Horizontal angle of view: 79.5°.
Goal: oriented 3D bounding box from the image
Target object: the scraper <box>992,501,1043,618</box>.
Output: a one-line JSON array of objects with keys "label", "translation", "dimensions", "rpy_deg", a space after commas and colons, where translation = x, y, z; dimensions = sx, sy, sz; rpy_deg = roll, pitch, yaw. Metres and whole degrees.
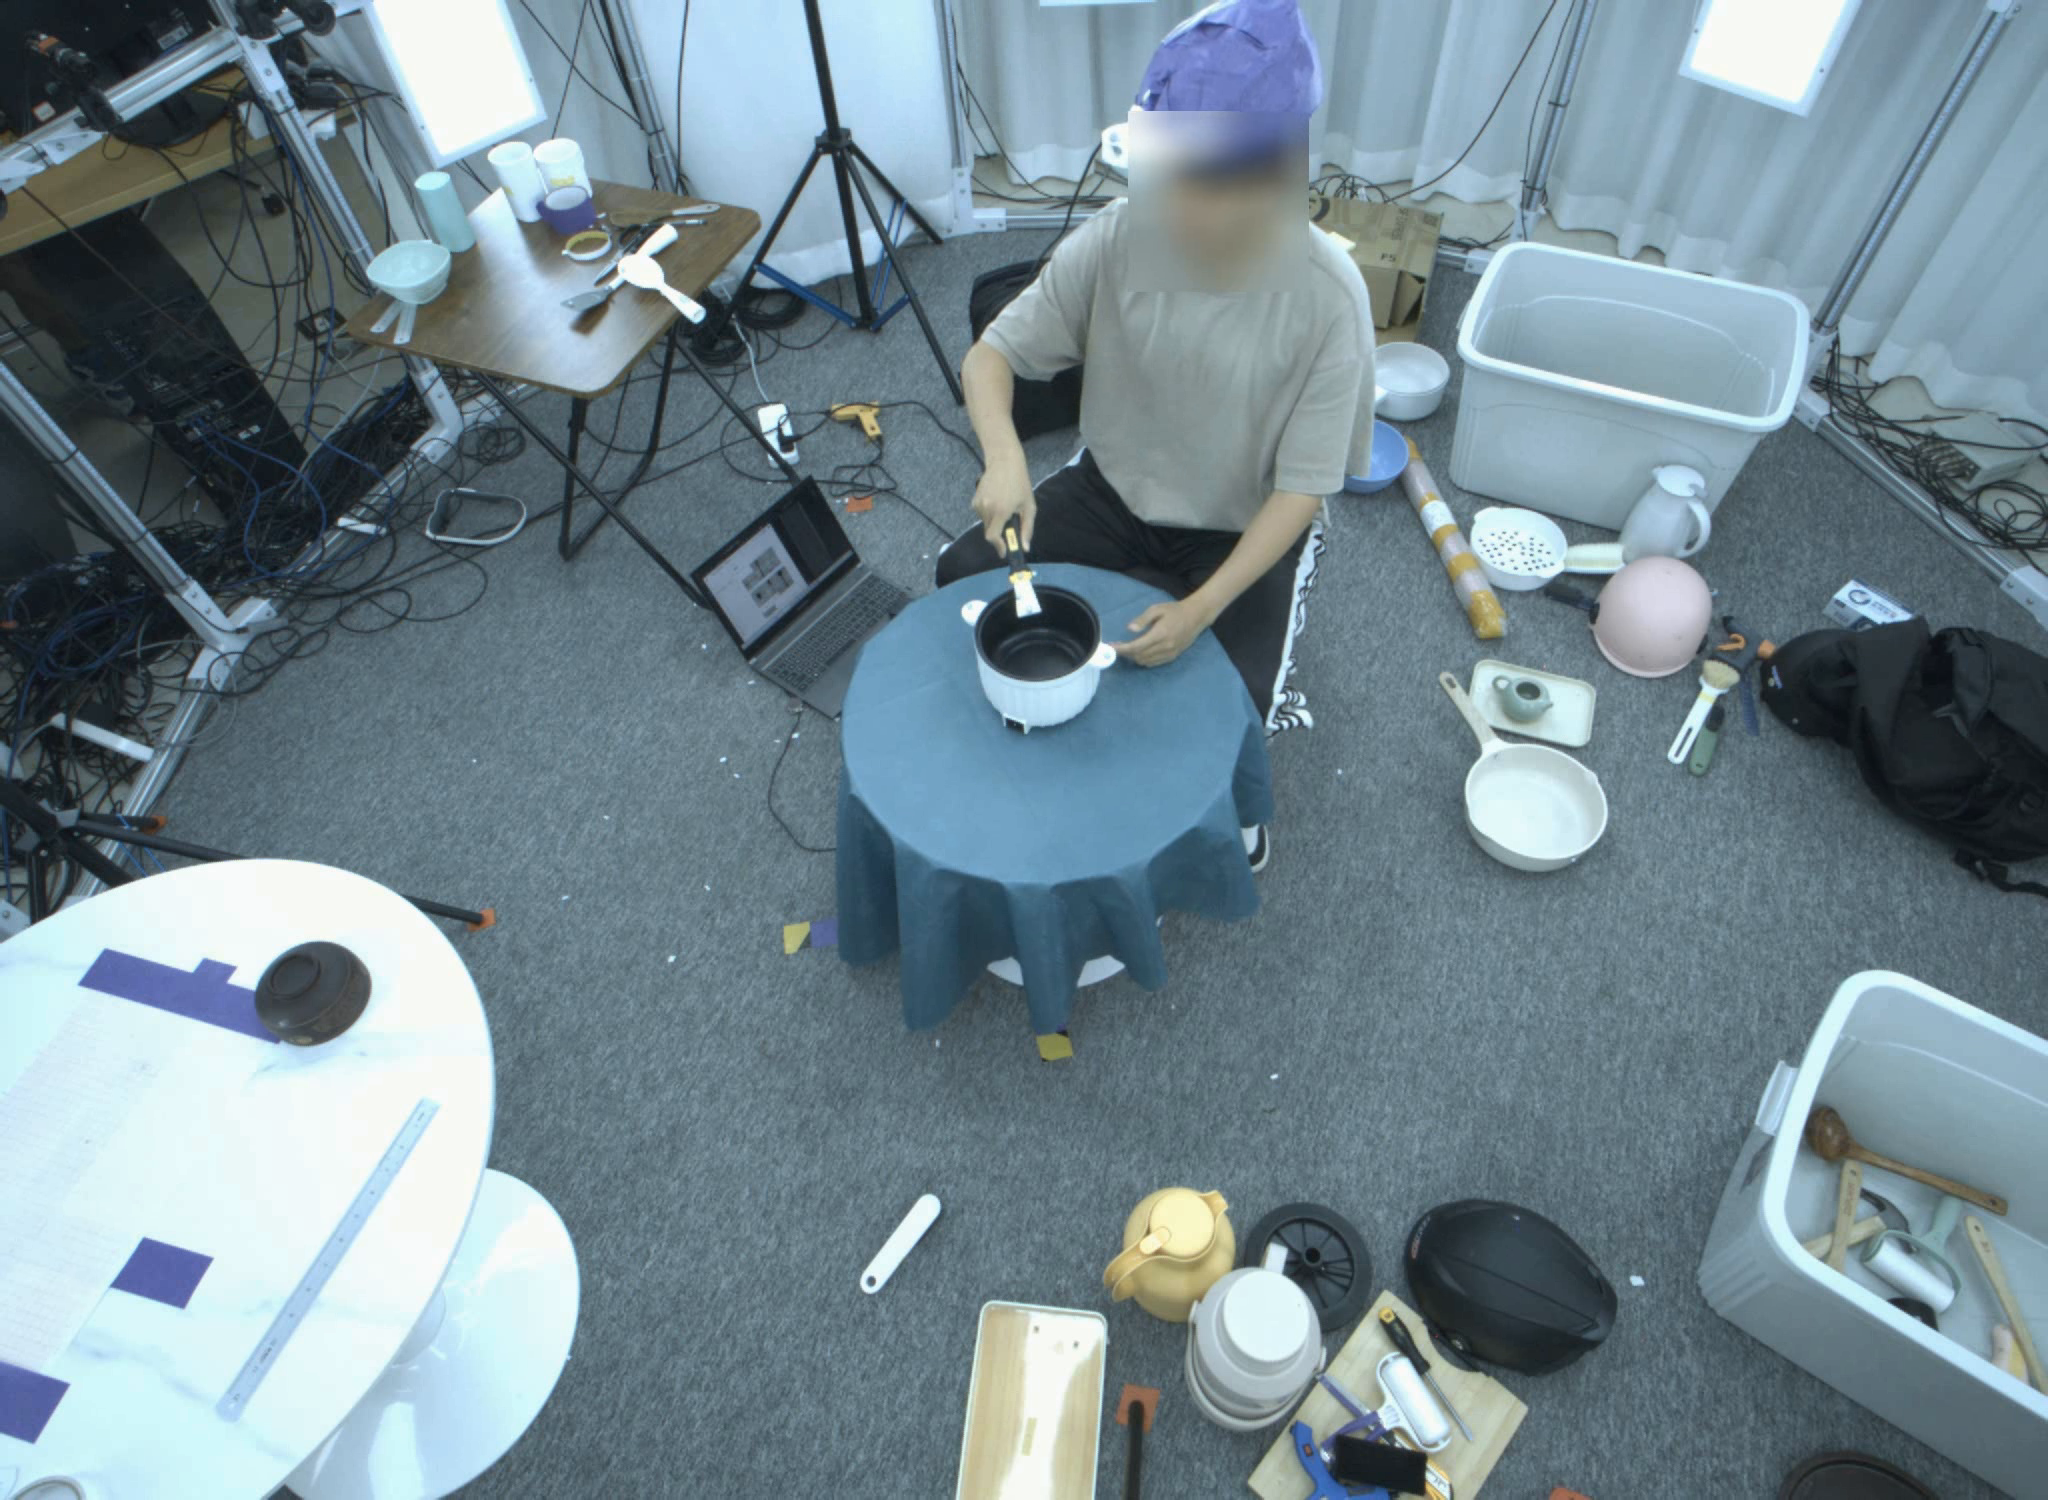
[{"label": "scraper", "translation": [-0.014, -0.275, 1.759], "dimensions": [0.038, 0.015, 0.171], "rpy_deg": [-15, 91, 6]}]

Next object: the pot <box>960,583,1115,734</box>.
[{"label": "pot", "translation": [0.023, -0.135, 1.793], "dimensions": [0.237, 0.144, 0.190], "rpy_deg": [21, 63, 16]}]
